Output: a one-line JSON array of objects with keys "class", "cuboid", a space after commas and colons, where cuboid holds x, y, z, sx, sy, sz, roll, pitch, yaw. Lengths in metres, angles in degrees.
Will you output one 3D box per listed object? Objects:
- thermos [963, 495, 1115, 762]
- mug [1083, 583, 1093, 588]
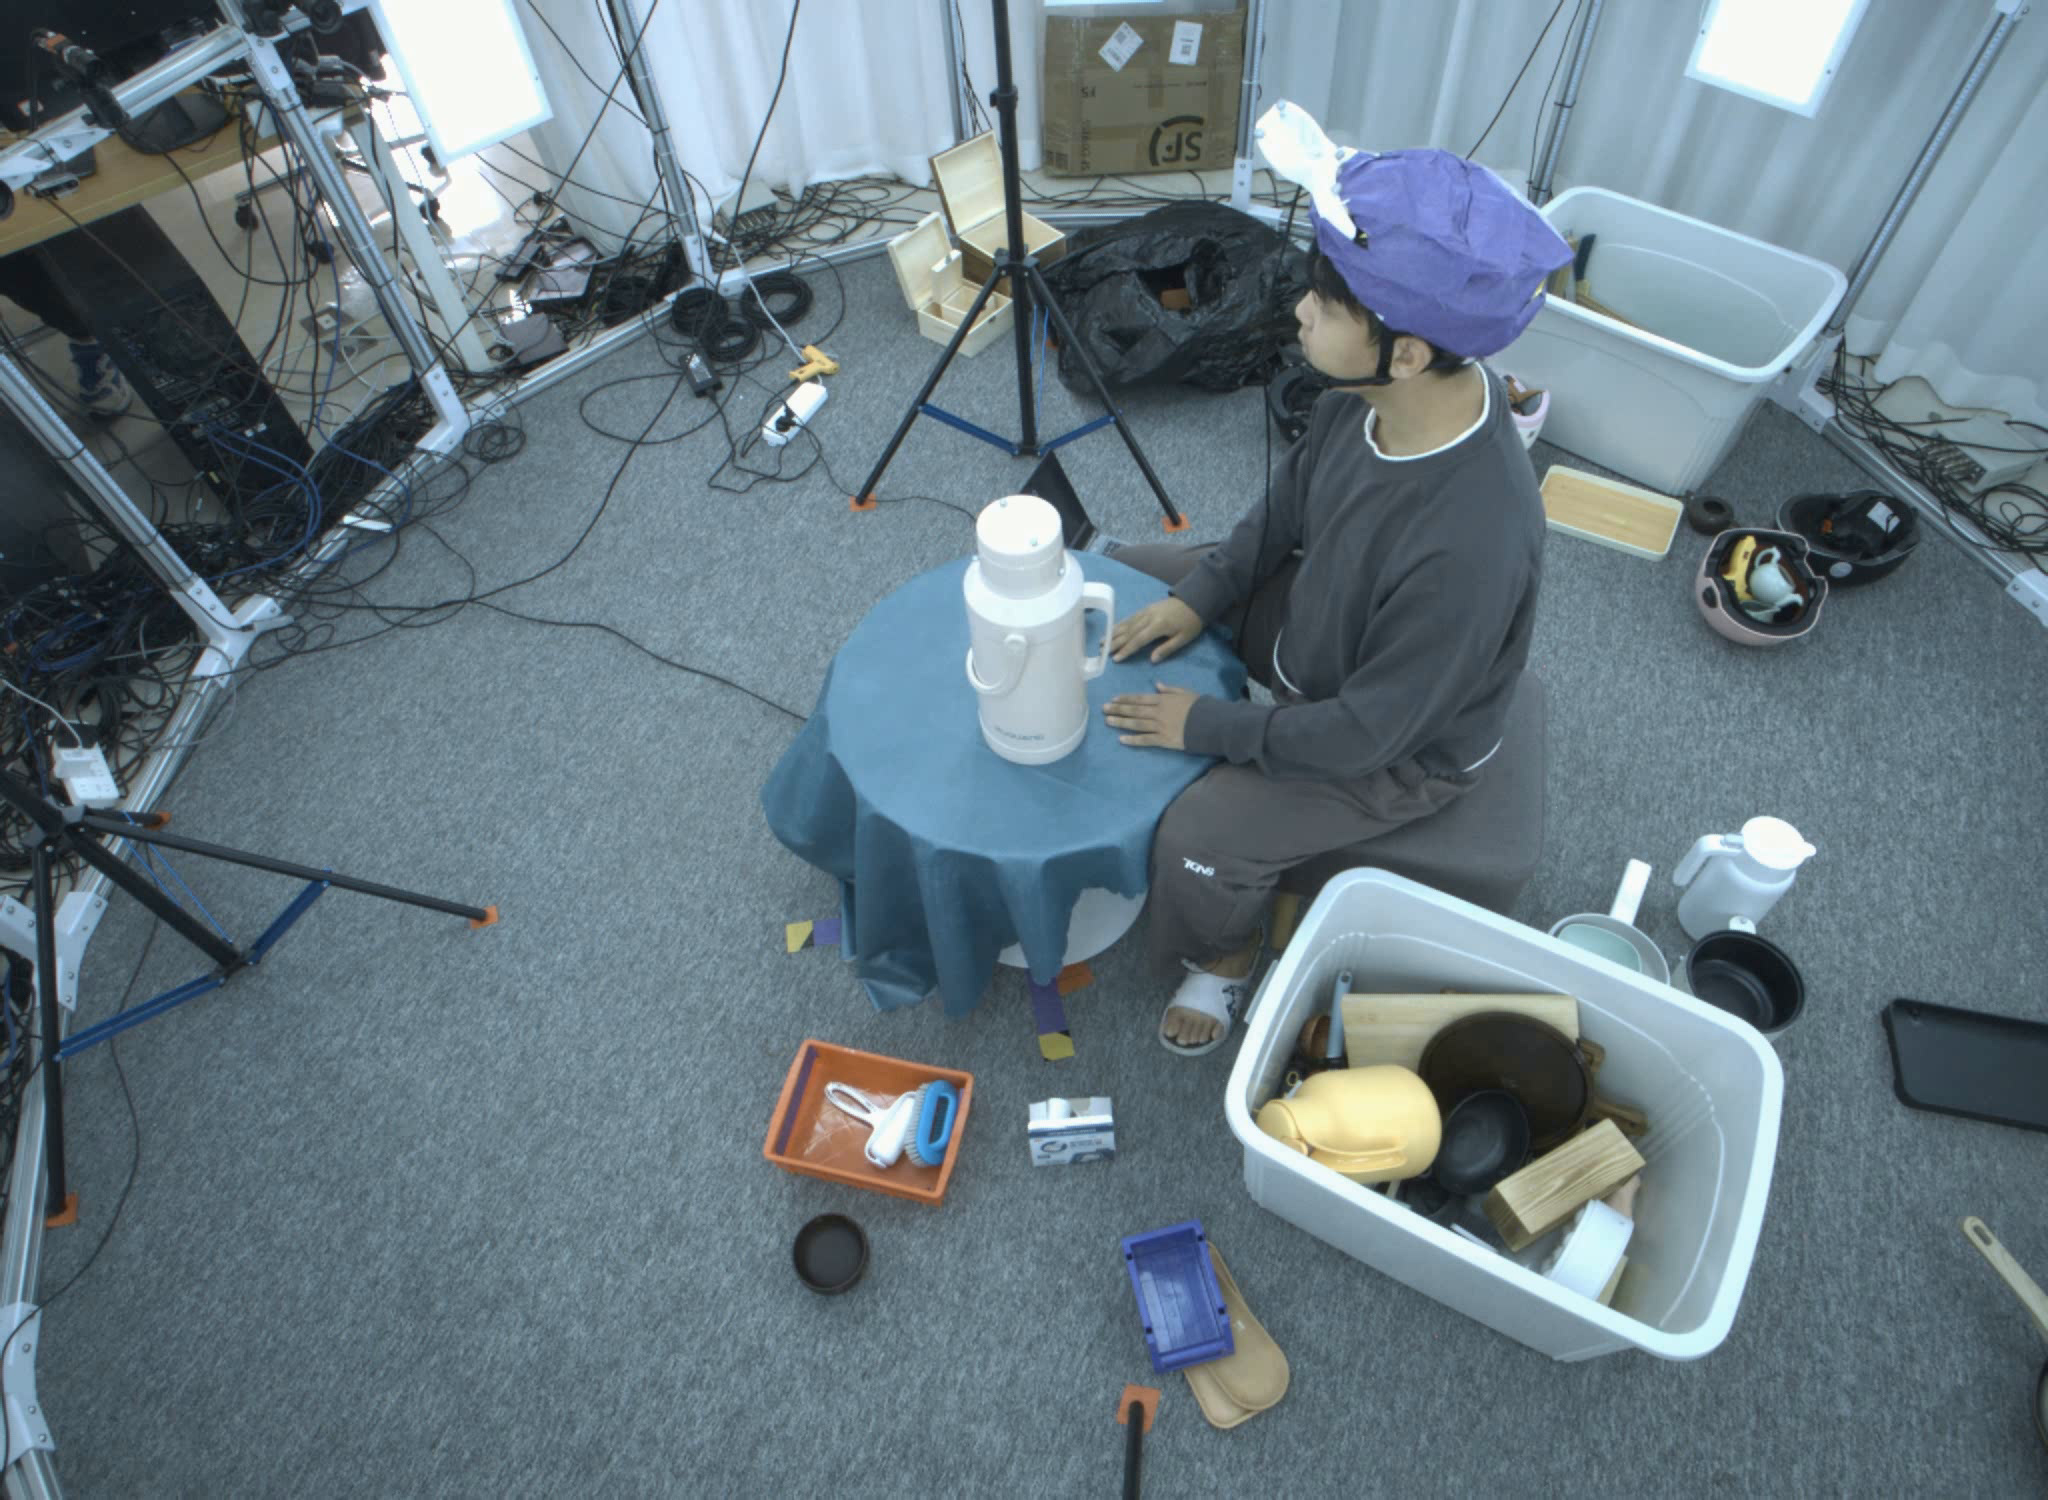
[{"class": "thermos", "cuboid": [0.018, -0.158, 1.655, 0.206, 0.411, 0.174, 3, 55, 6]}, {"class": "mug", "cuboid": [0.051, -0.241, 1.901, 0.122, 0.091, 0.093, 11, 56, 10]}]
